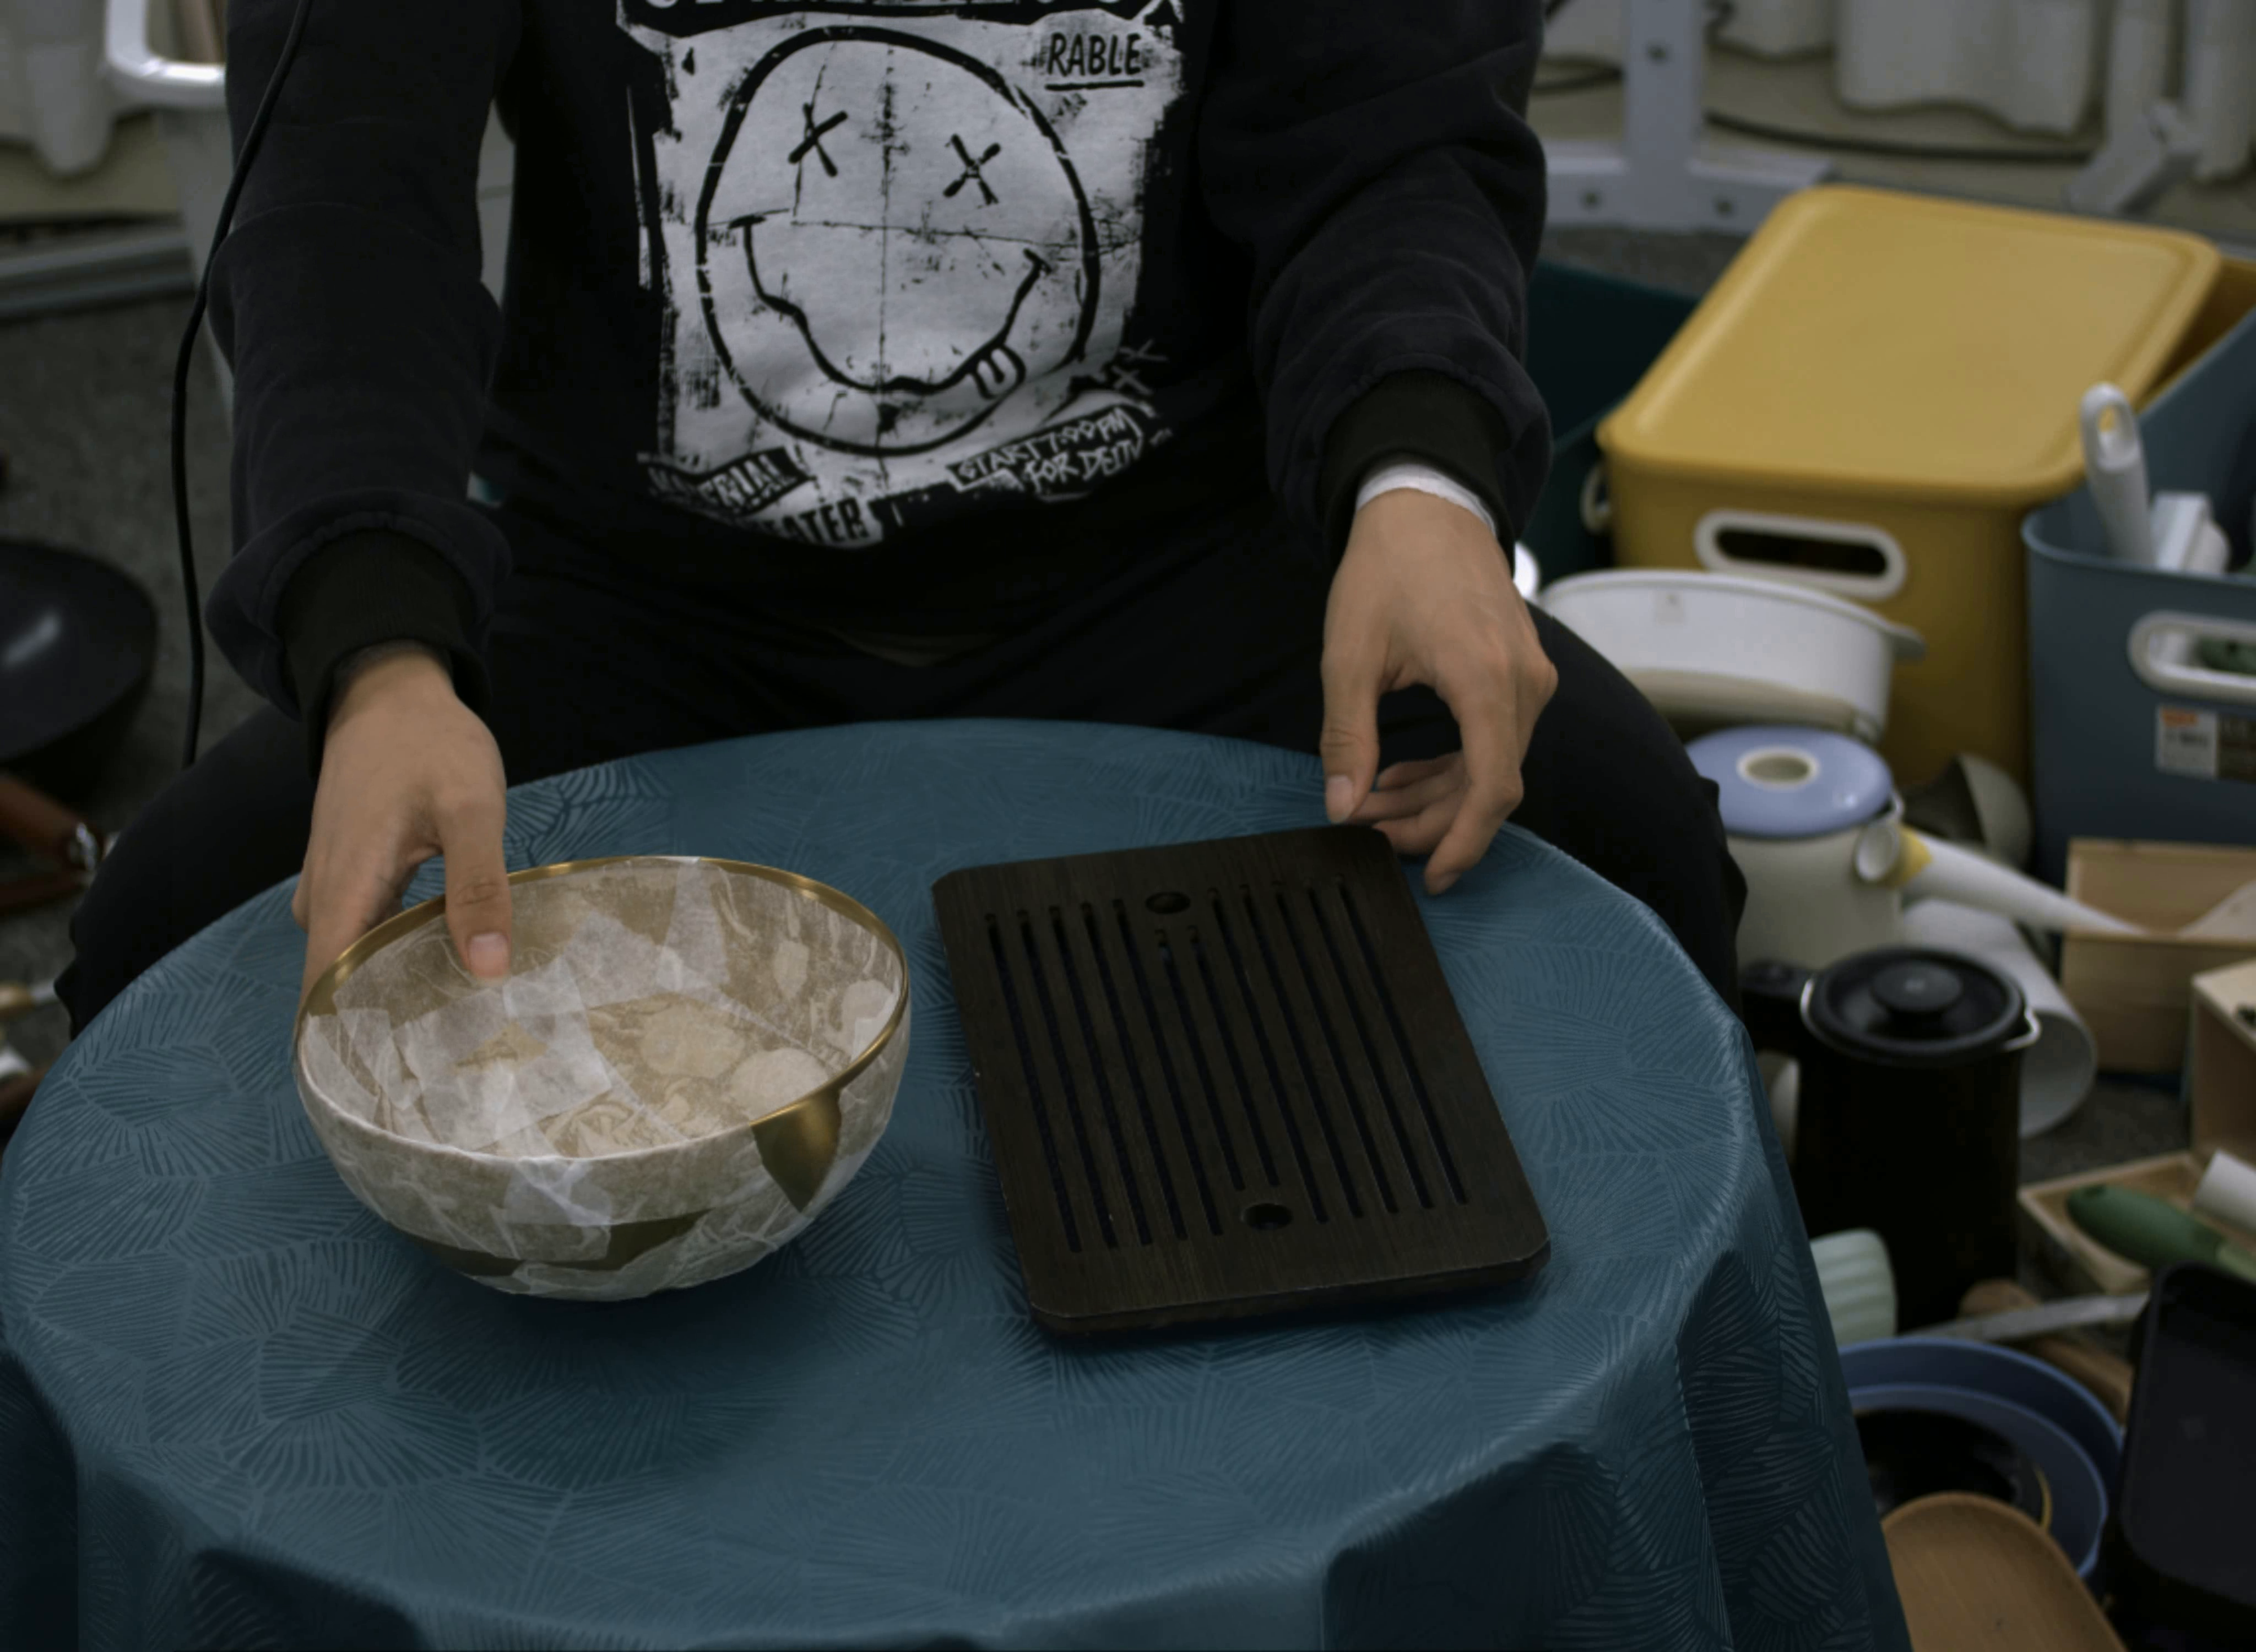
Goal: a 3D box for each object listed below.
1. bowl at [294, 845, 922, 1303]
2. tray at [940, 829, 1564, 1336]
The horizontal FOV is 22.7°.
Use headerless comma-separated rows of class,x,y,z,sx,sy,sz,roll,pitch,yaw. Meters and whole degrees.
bowl,-0.163,0.093,1.833,0.213,0.093,0.218,-3,26,2
tray,0.036,0.084,1.911,0.170,0.018,0.310,-6,27,-6
